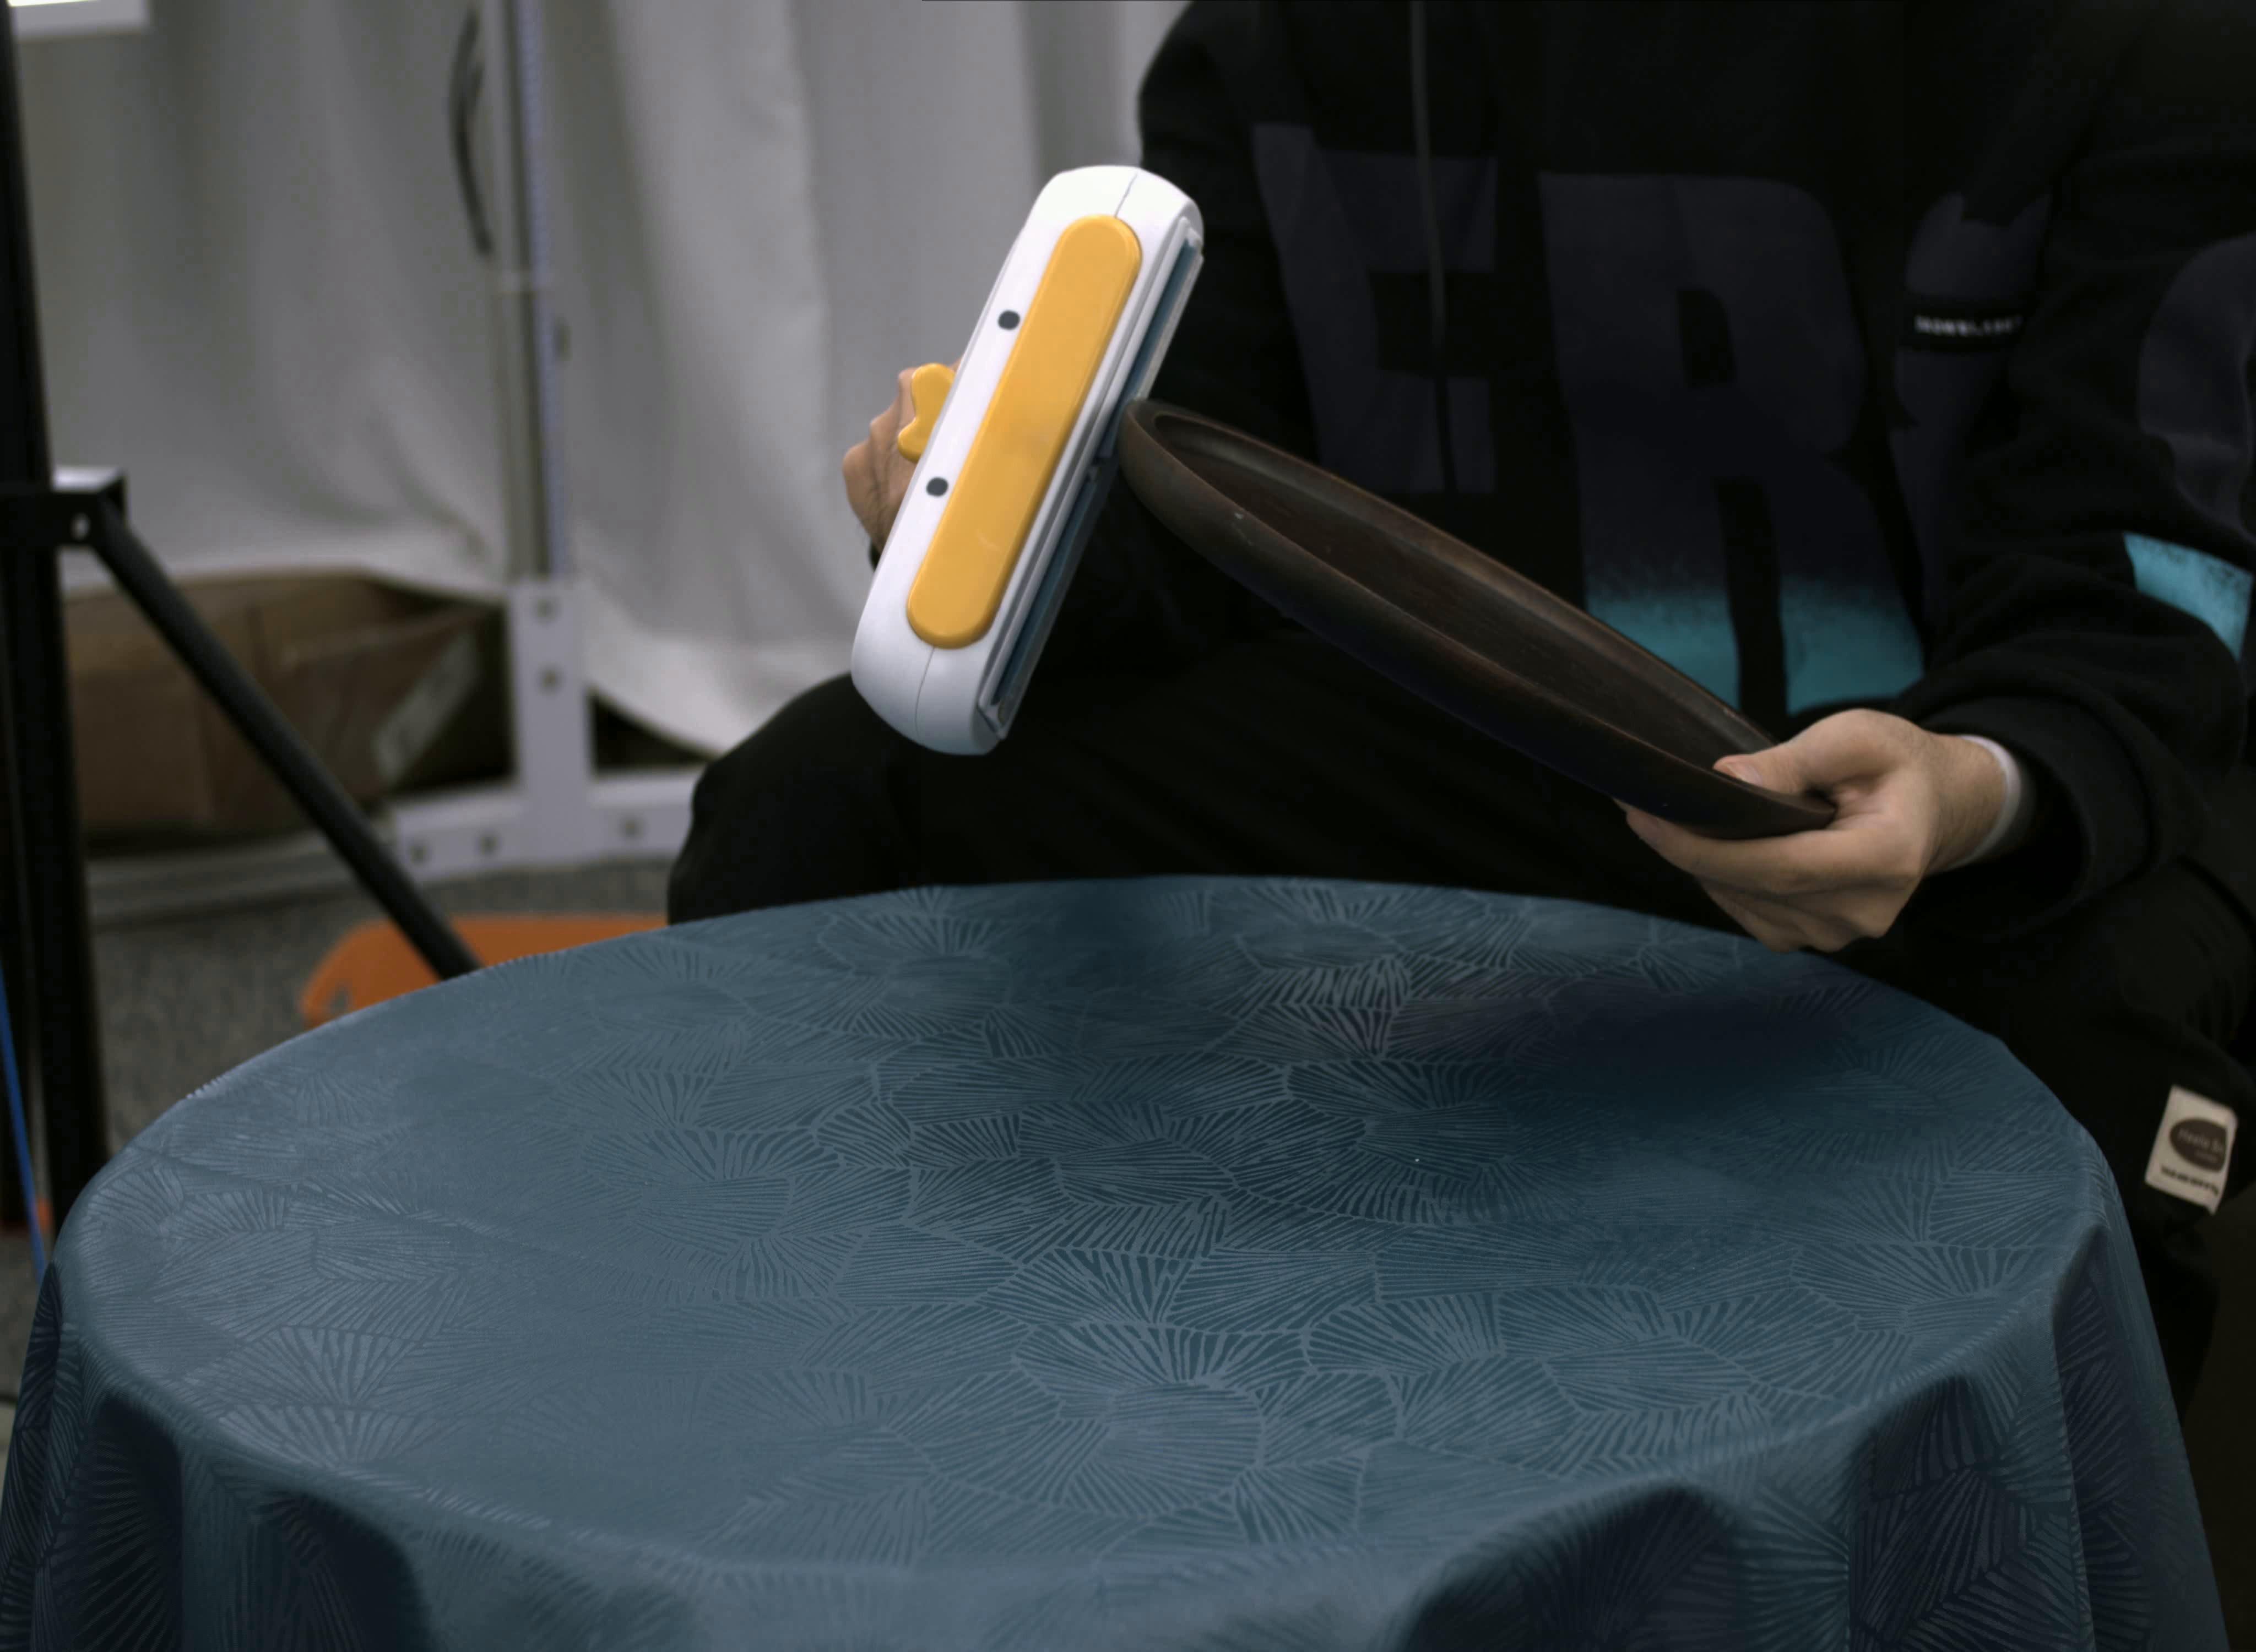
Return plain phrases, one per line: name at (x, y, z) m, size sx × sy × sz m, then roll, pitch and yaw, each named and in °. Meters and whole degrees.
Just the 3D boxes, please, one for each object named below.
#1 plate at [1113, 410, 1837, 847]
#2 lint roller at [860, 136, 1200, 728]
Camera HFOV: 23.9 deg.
plate at (0.105, -0.060, 1.642) m, size 0.253 × 0.029 × 0.256 m, roll 29°, pitch 8°, yaw -6°
lint roller at (-0.037, -0.111, 1.723) m, size 0.074 × 0.193 × 0.192 m, roll 17°, pitch -14°, yaw 3°
